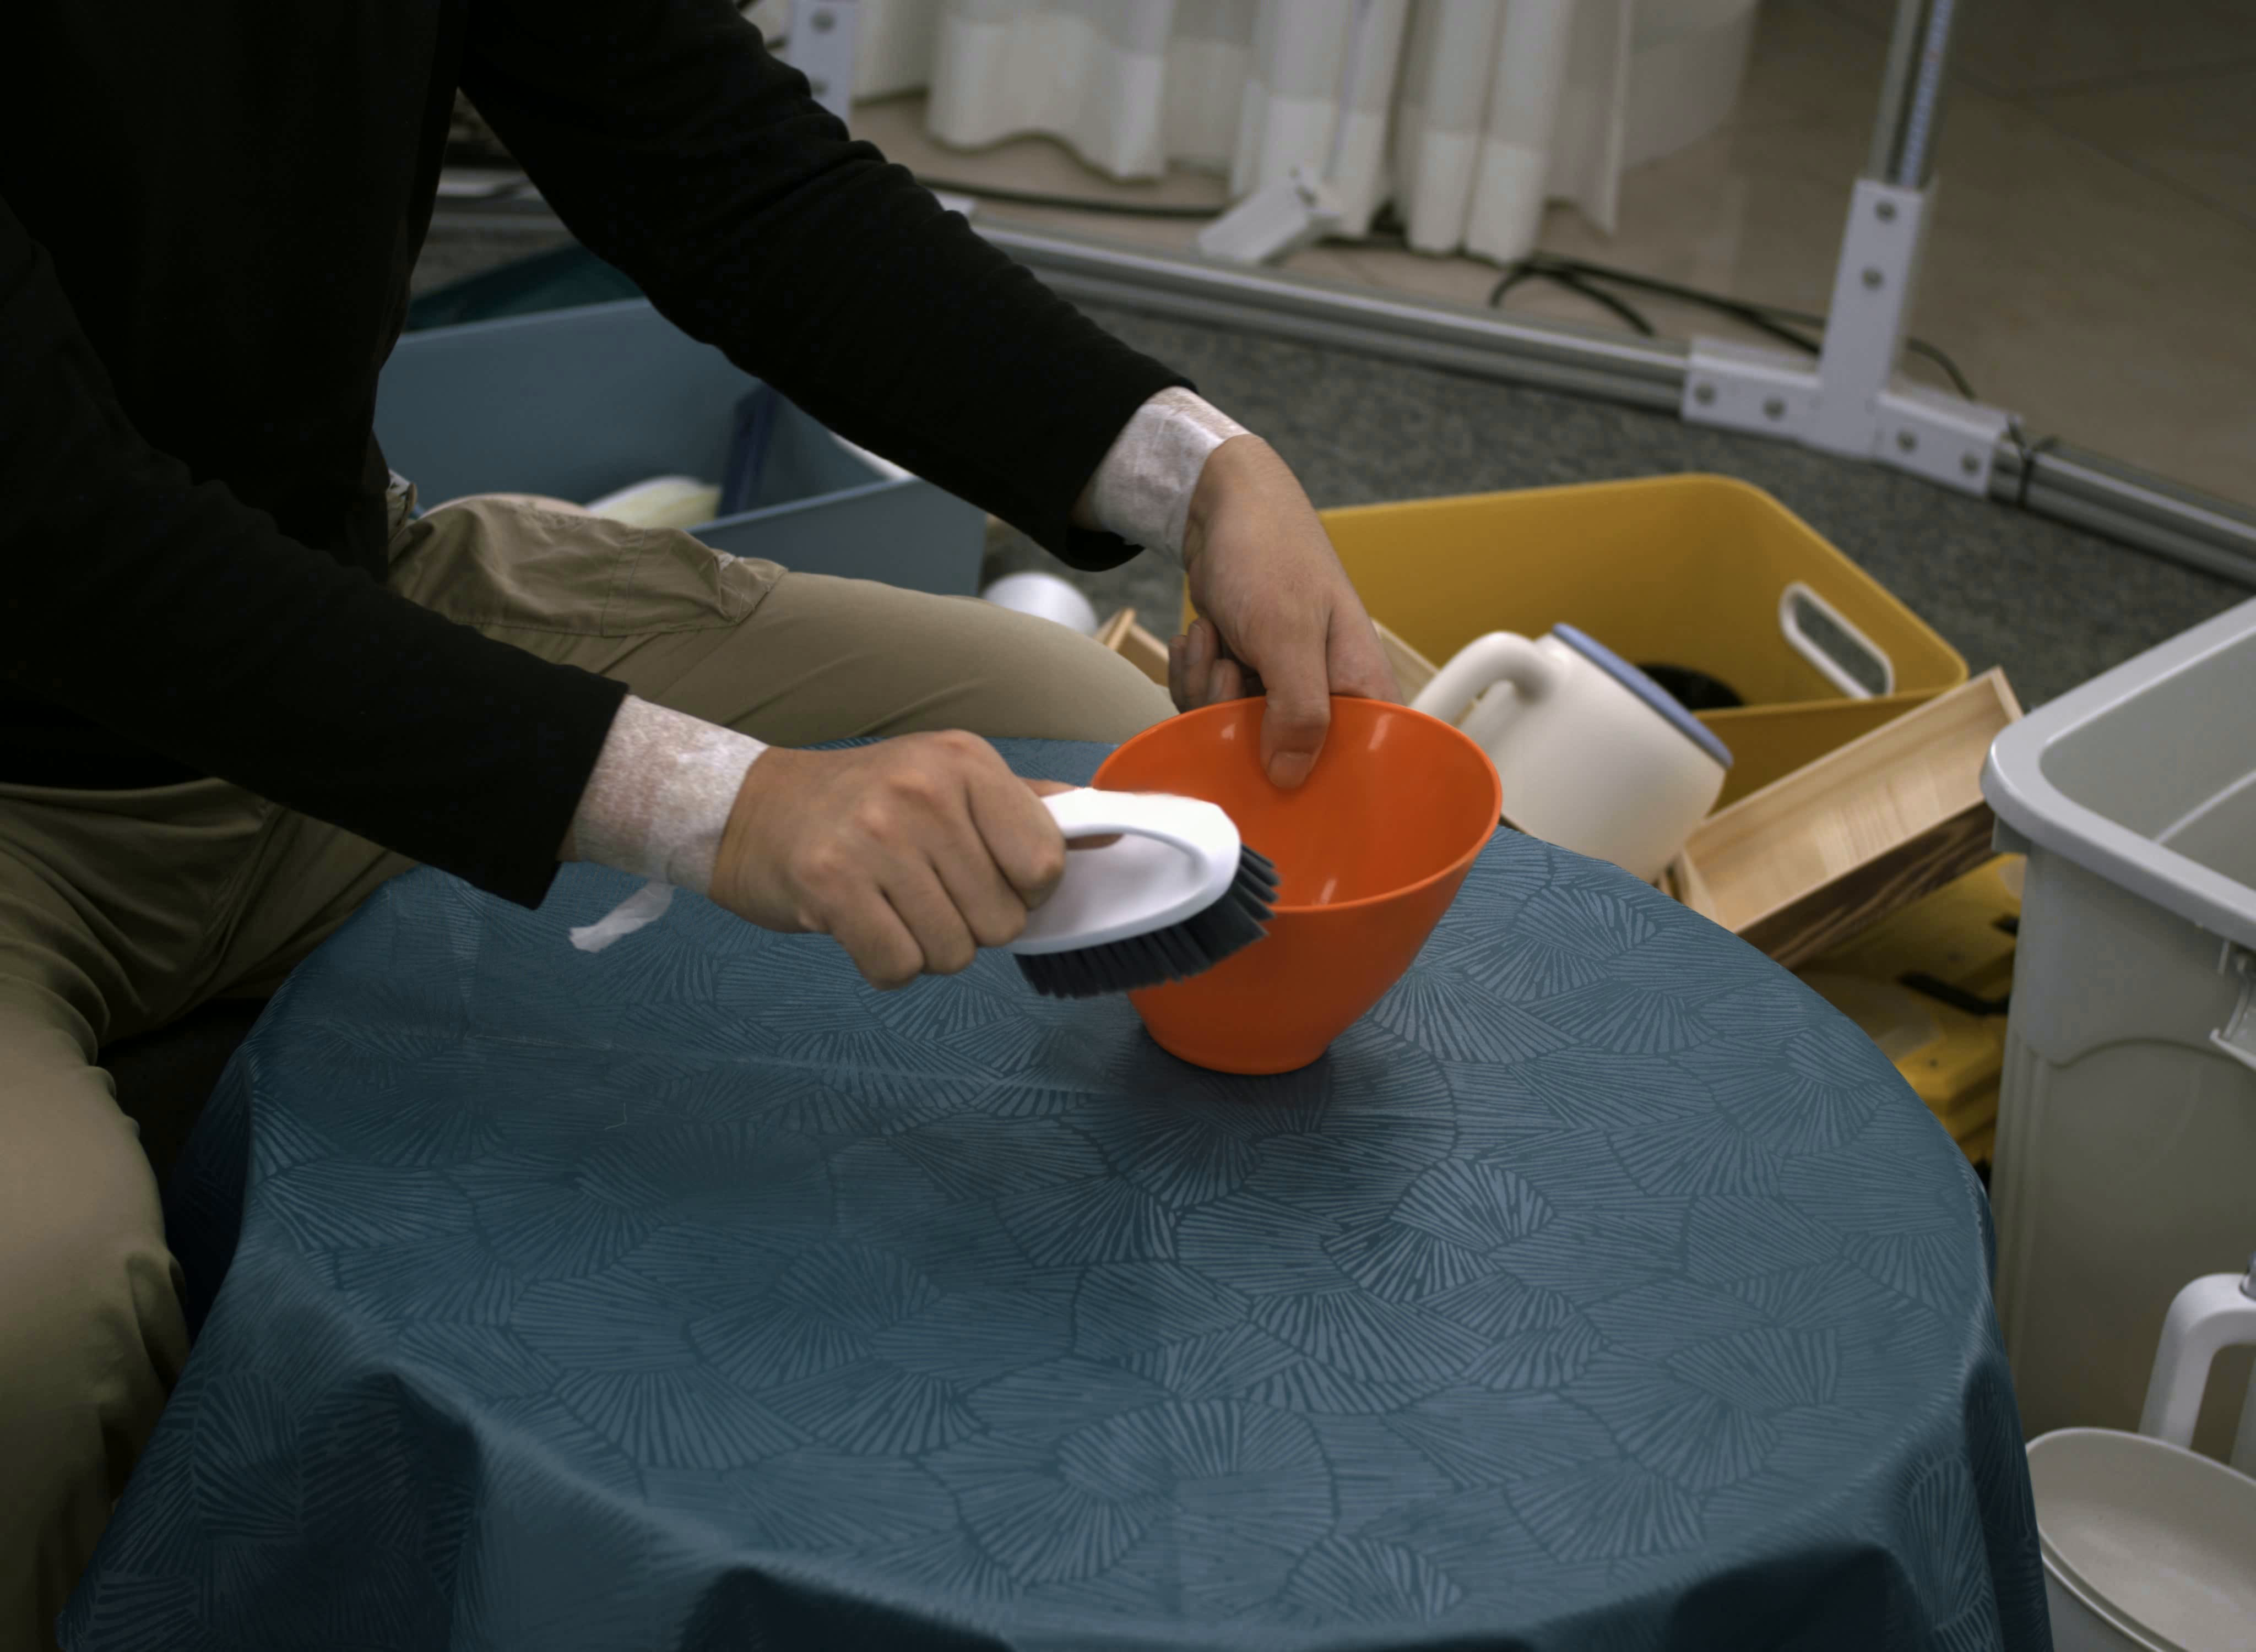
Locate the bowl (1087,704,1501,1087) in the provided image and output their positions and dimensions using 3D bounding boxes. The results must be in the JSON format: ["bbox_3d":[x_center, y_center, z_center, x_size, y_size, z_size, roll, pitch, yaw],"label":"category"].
[{"bbox_3d":[0.054,0.030,1.891,0.147,0.104,0.149,4,26,-2],"label":"bowl"}]

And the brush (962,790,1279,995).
[{"bbox_3d":[-0.009,0.015,1.760,0.099,0.072,0.050,-11,53,30],"label":"brush"}]
